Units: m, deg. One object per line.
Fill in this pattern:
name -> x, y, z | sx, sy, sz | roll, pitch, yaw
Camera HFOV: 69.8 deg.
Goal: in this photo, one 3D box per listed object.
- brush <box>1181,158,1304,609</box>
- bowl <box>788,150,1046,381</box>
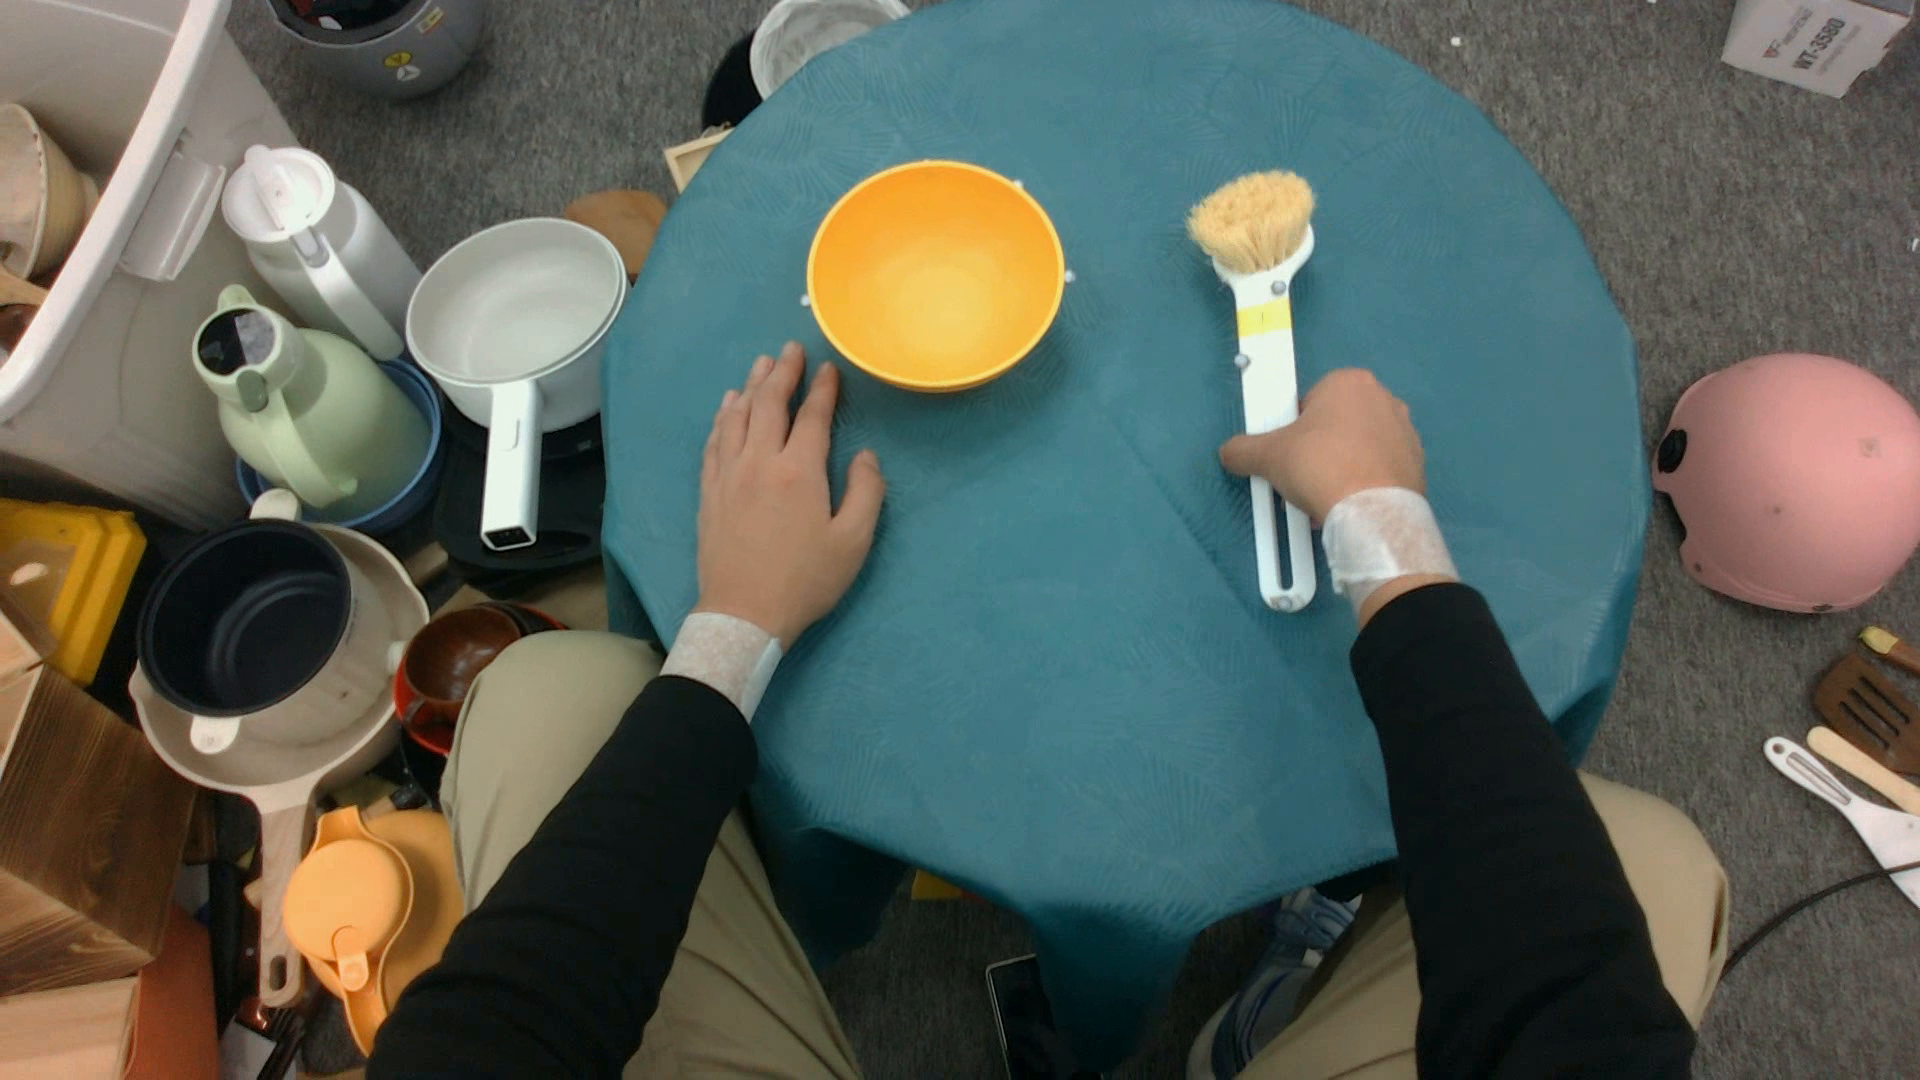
brush -> 0.163, -0.096, 0.766 | 0.068, 0.056, 0.267 | -10, 67, 29
bowl -> -0.023, -0.149, 0.795 | 0.145, 0.060, 0.146 | -1, 71, 2
